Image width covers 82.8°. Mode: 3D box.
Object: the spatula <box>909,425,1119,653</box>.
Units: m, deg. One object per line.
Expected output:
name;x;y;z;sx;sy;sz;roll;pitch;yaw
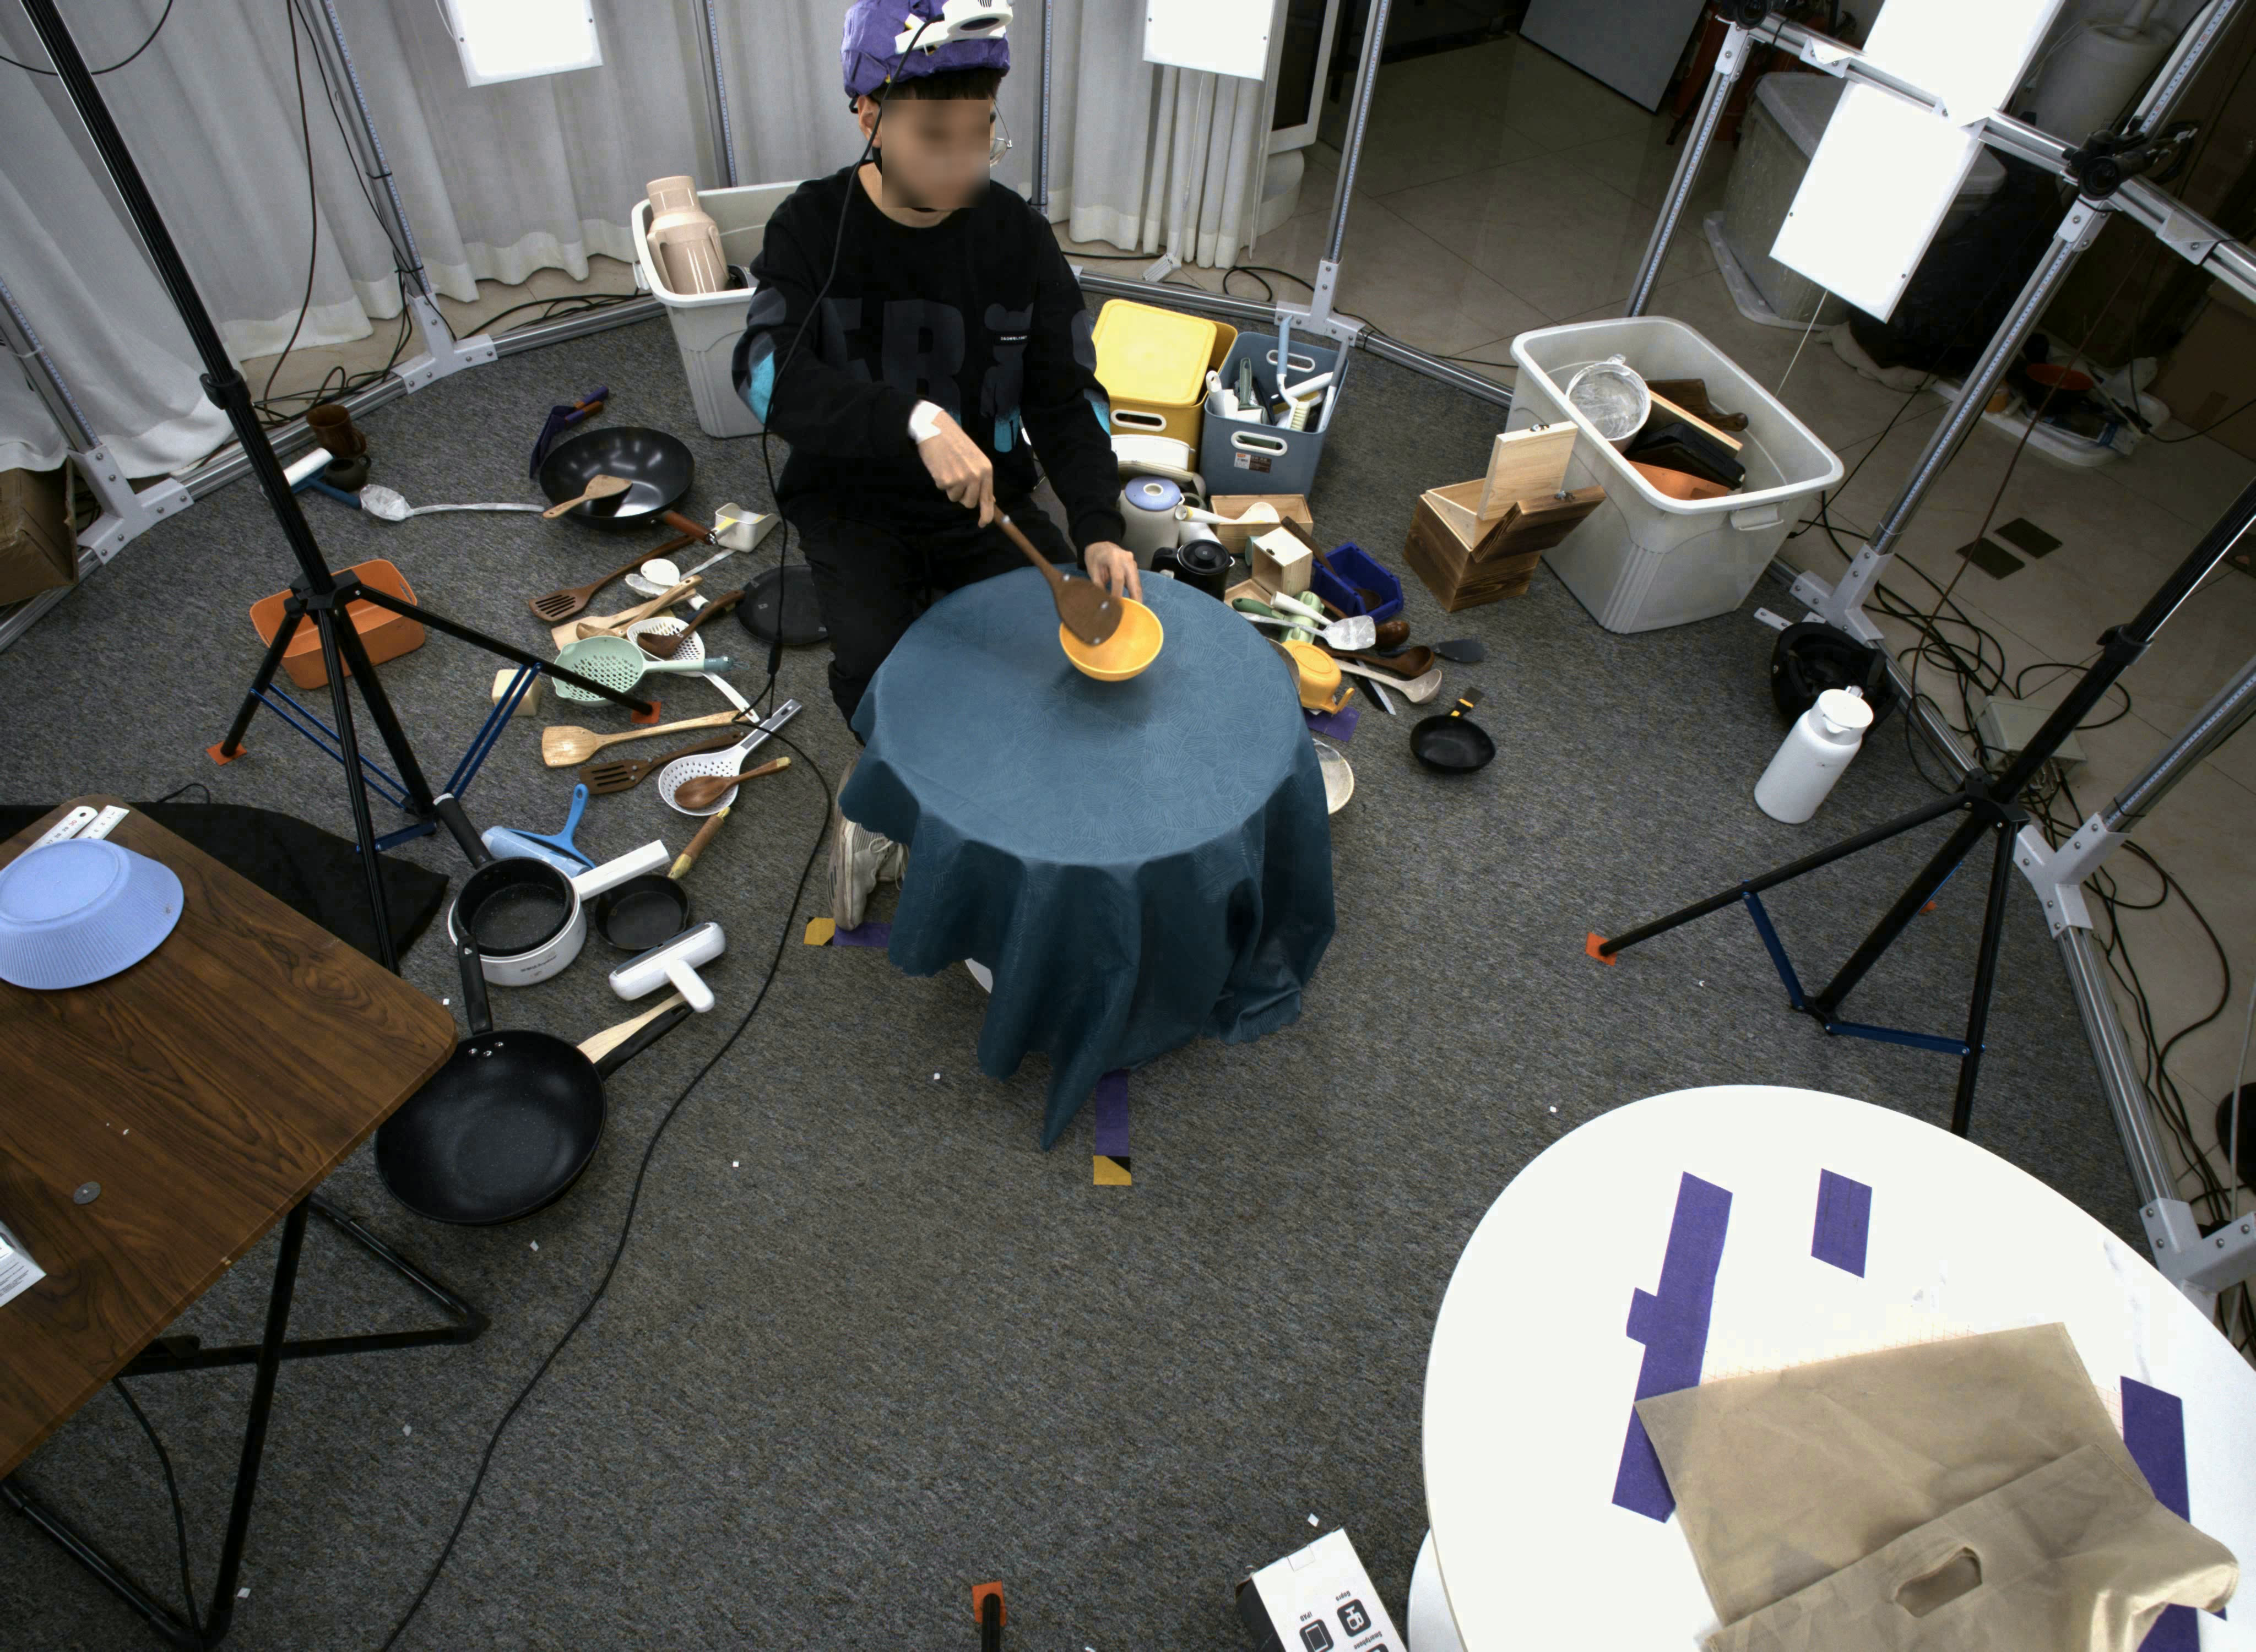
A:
spatula;-0.156;-0.393;1.759;0.382;0.015;0.097;46;54;-15

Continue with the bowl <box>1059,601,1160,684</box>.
bowl;-0.028;-0.251;1.837;0.145;0.059;0.149;2;52;-3
